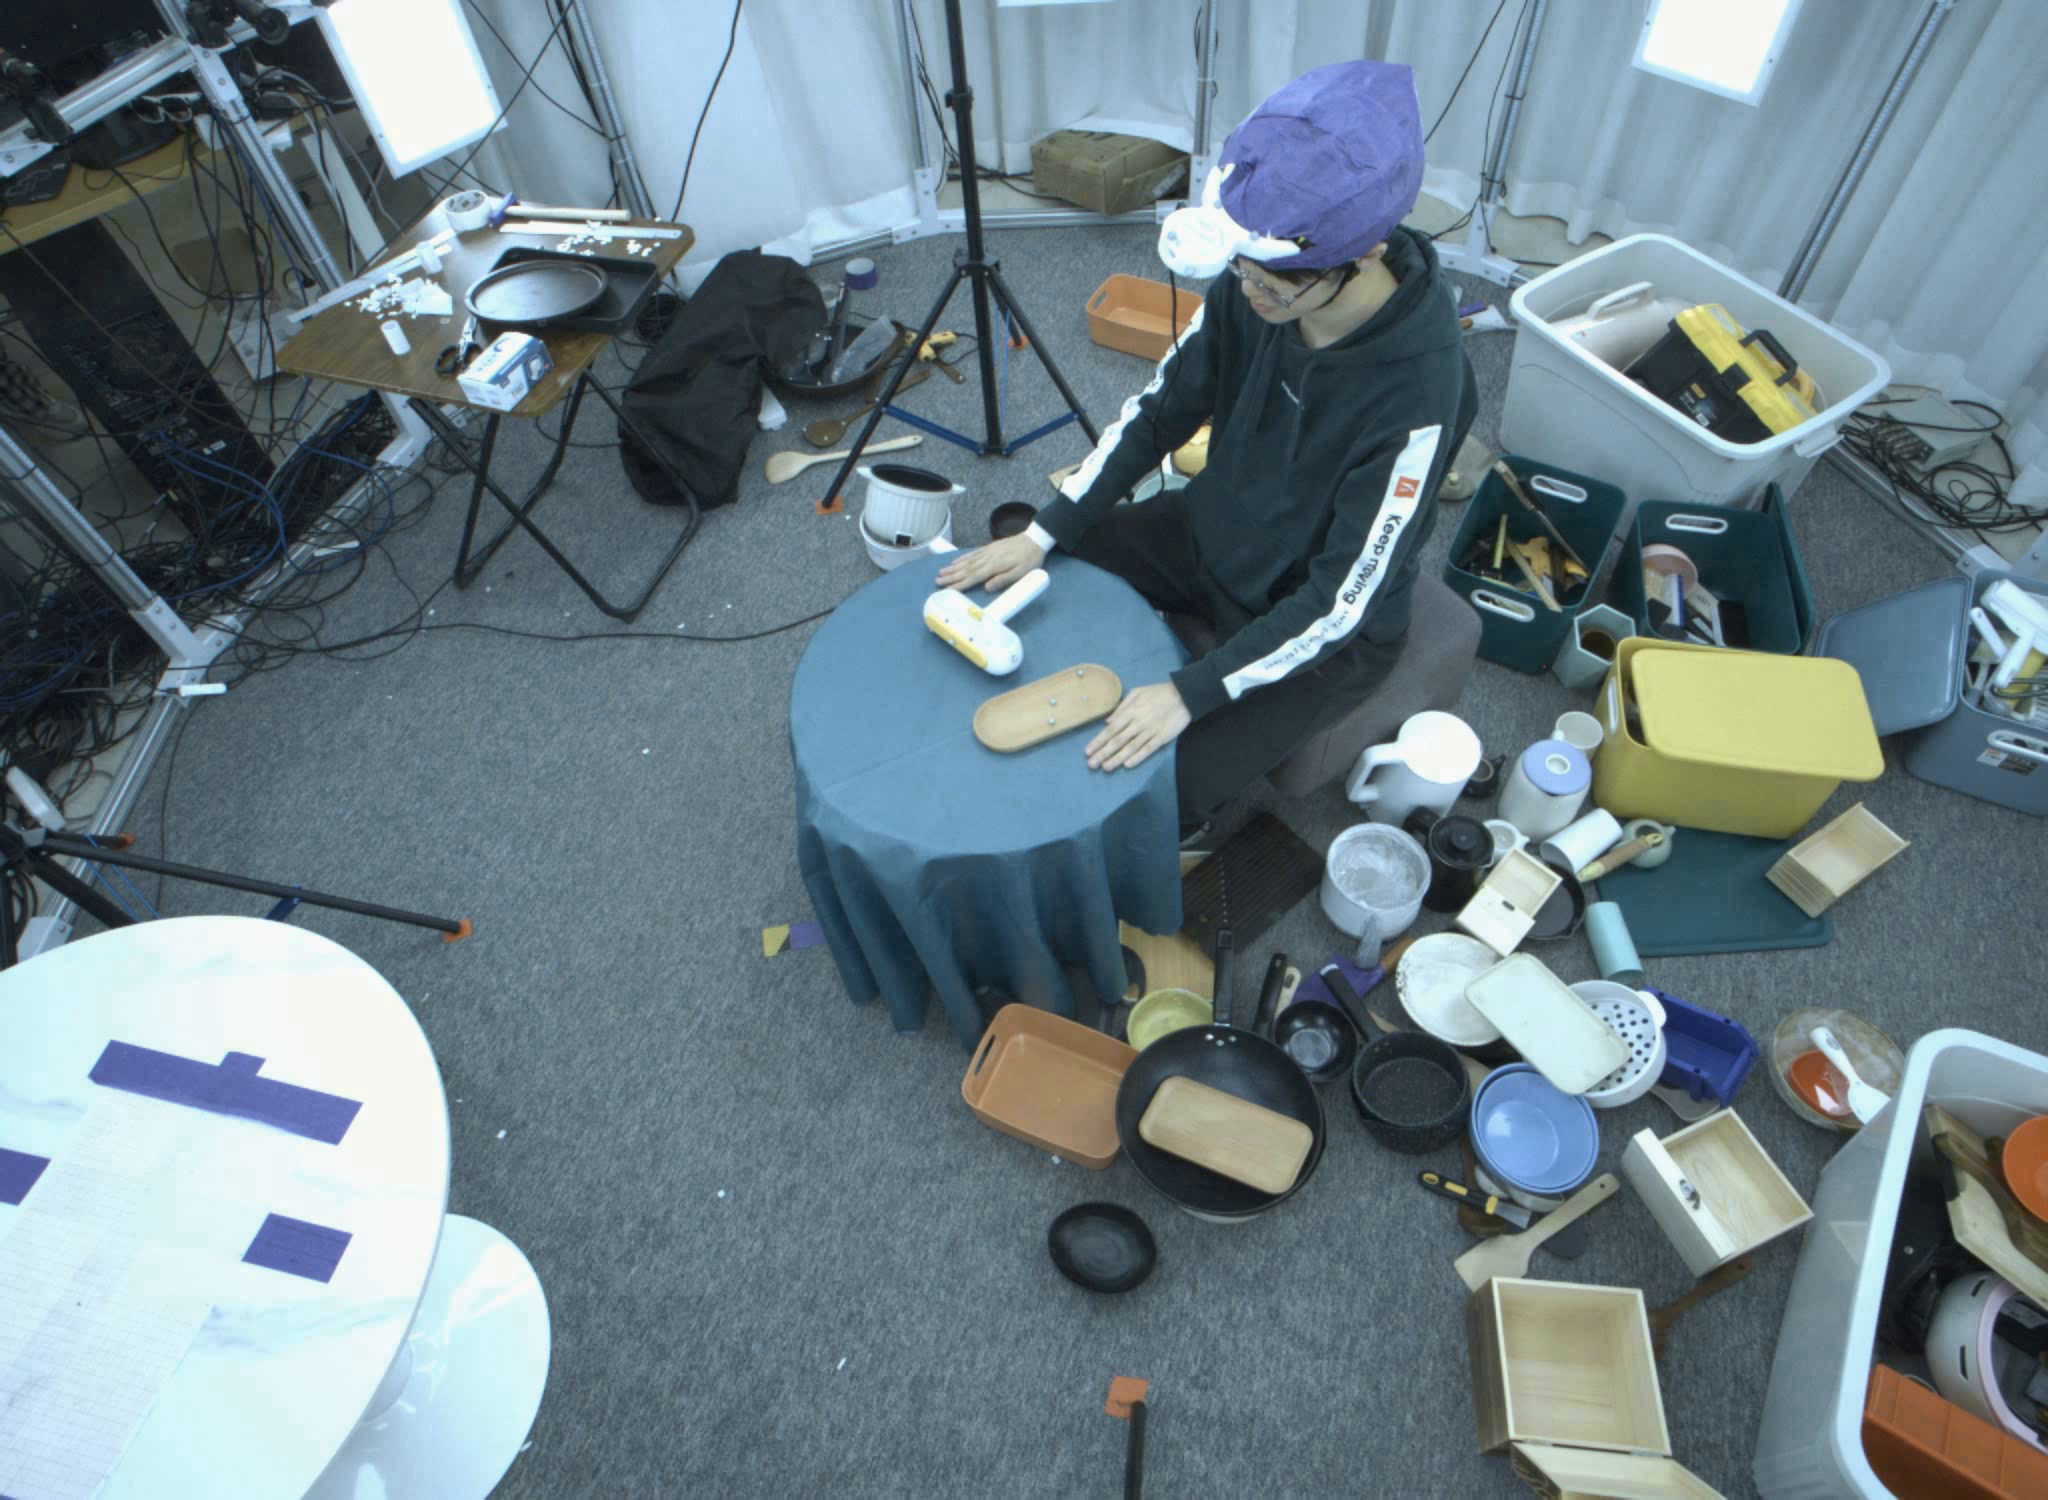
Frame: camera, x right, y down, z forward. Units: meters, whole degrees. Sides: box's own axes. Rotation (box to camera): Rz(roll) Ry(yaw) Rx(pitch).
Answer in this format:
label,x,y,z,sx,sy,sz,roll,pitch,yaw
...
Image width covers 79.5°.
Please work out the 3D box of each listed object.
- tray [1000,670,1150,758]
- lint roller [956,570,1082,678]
label,x,y,z,sx,sy,sz,roll,pitch,yaw
tray,0.076,-0.053,1.808,0.233,0.020,0.100,-21,56,-11
lint roller,0.015,-0.210,1.890,0.194,0.075,0.189,-35,52,-28
